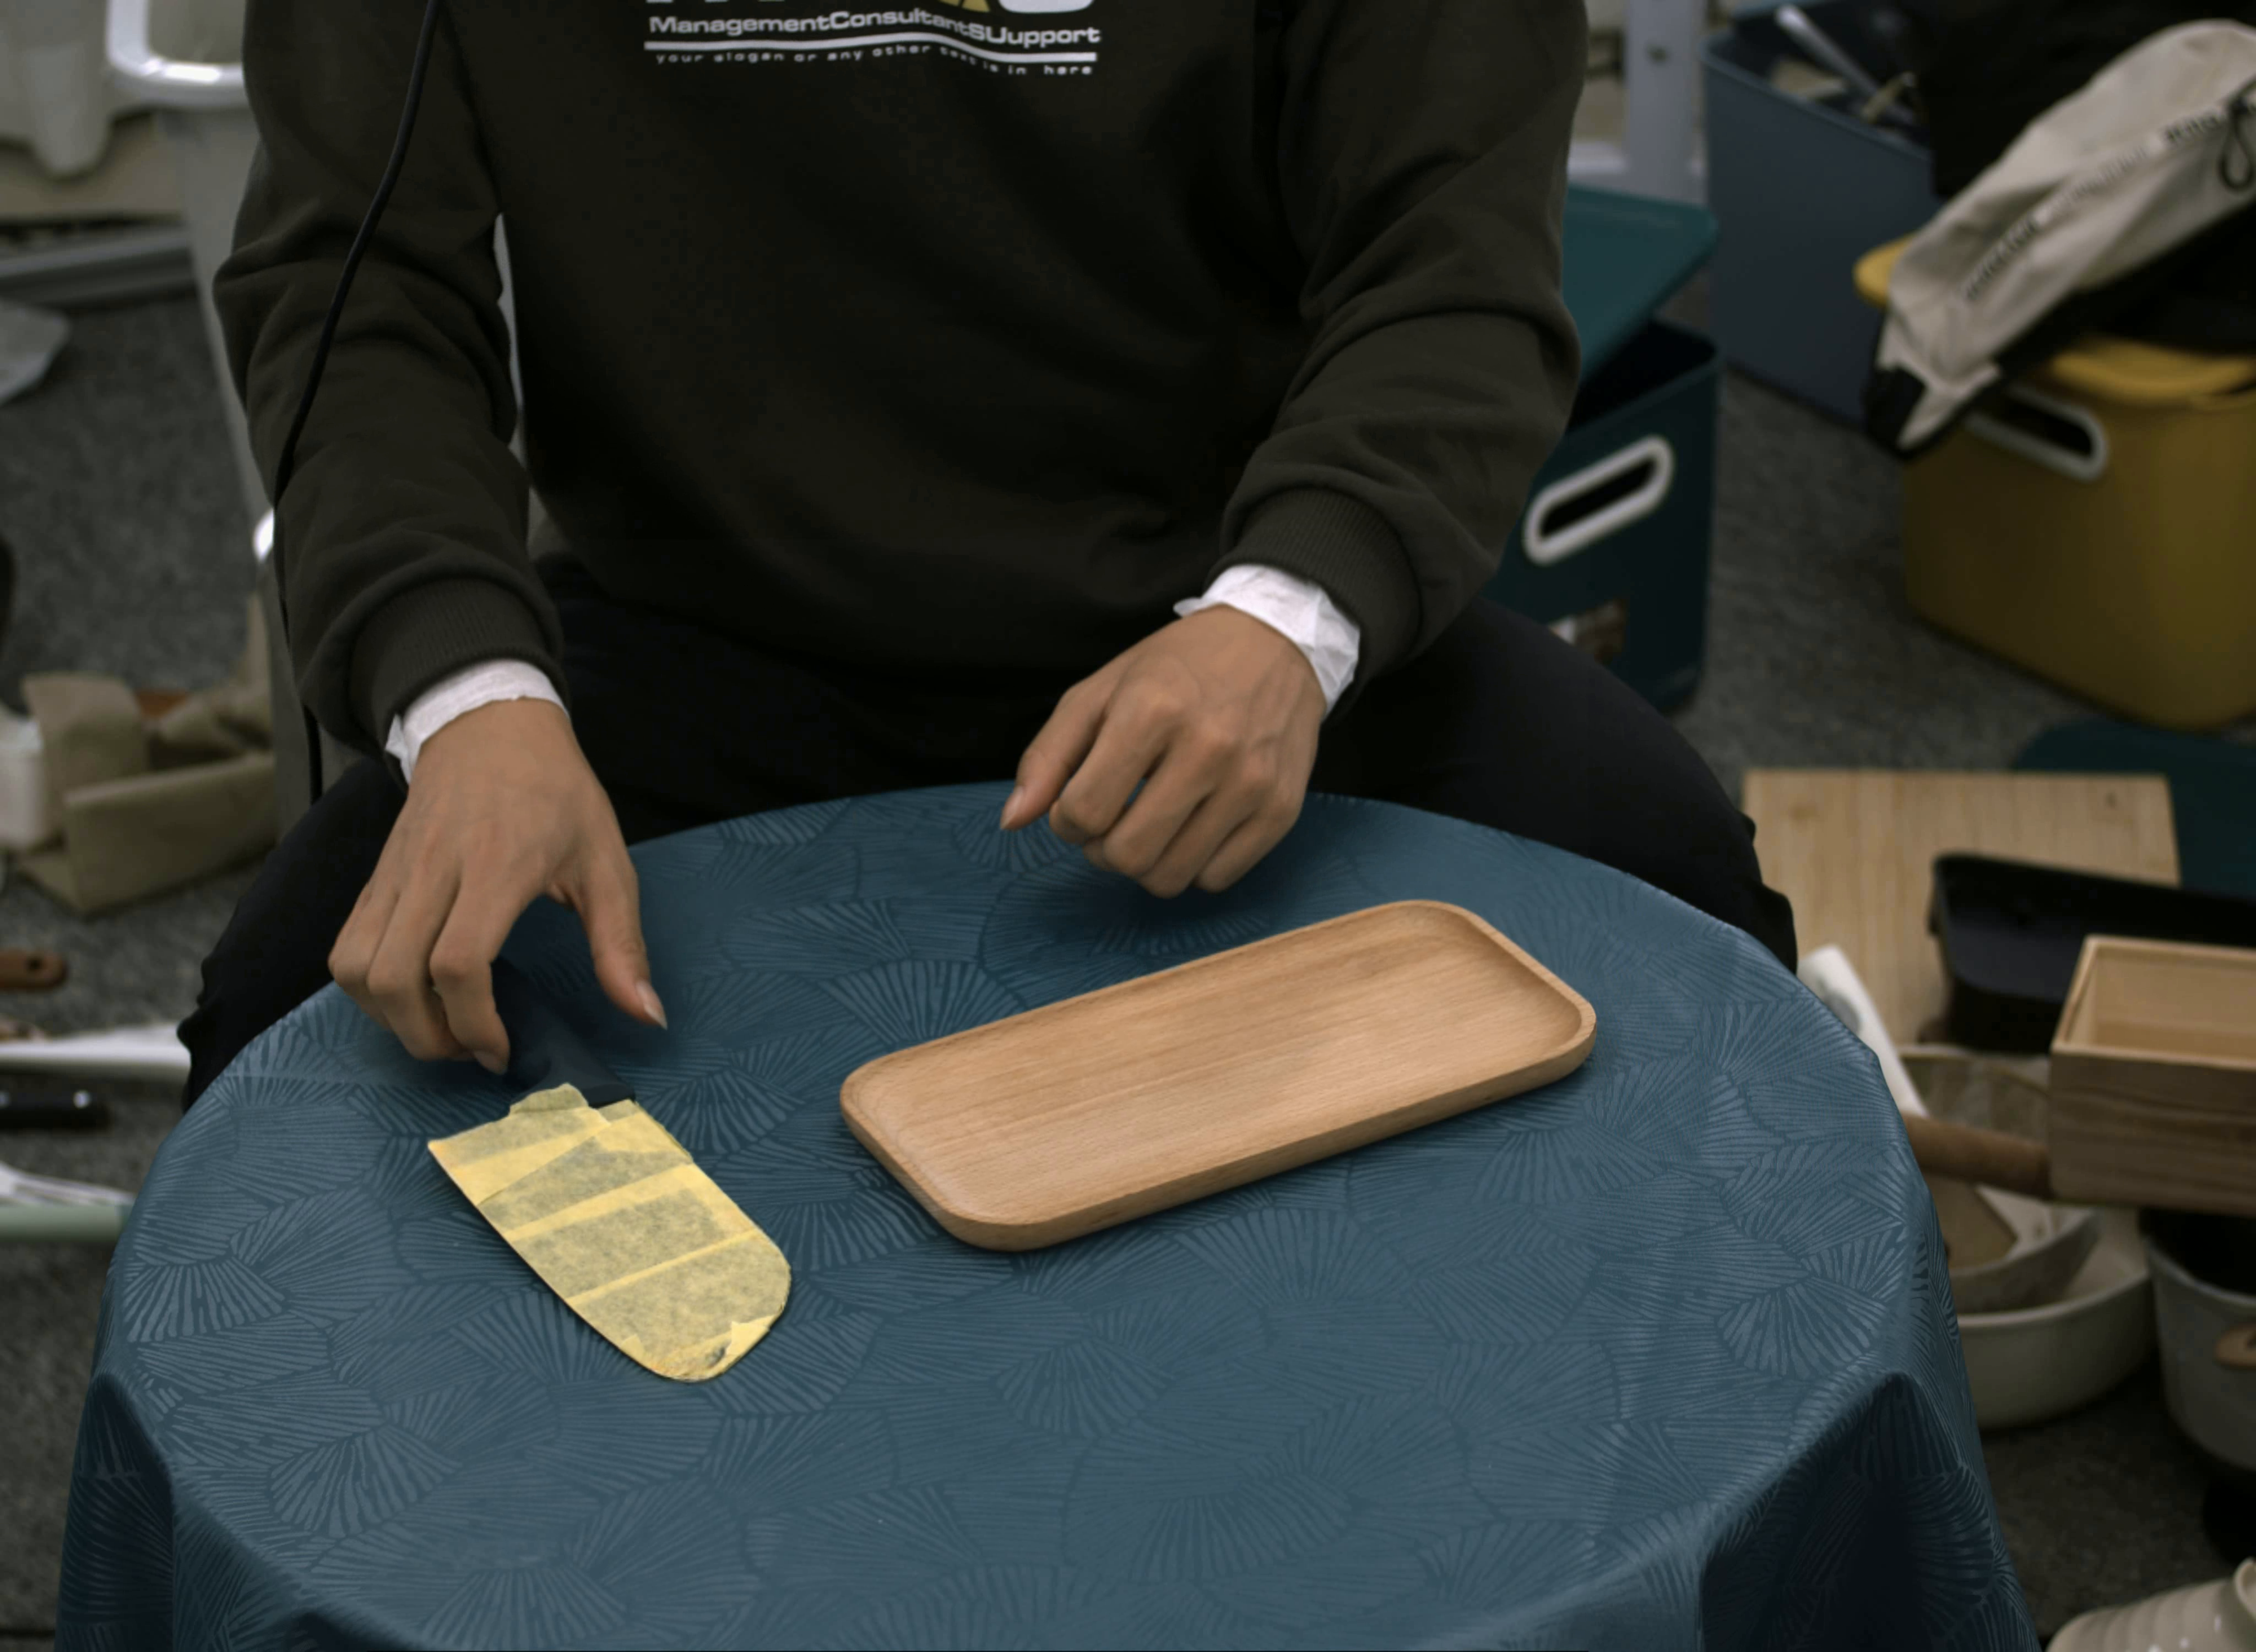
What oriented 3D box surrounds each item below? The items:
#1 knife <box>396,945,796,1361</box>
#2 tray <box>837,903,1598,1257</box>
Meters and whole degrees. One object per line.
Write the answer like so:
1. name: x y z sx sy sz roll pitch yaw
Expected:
1. knife: -0.192 0.110 1.886 0.081 0.027 0.291 -14 30 -25
2. tray: 0.031 0.085 1.912 0.252 0.022 0.131 -17 28 -24
